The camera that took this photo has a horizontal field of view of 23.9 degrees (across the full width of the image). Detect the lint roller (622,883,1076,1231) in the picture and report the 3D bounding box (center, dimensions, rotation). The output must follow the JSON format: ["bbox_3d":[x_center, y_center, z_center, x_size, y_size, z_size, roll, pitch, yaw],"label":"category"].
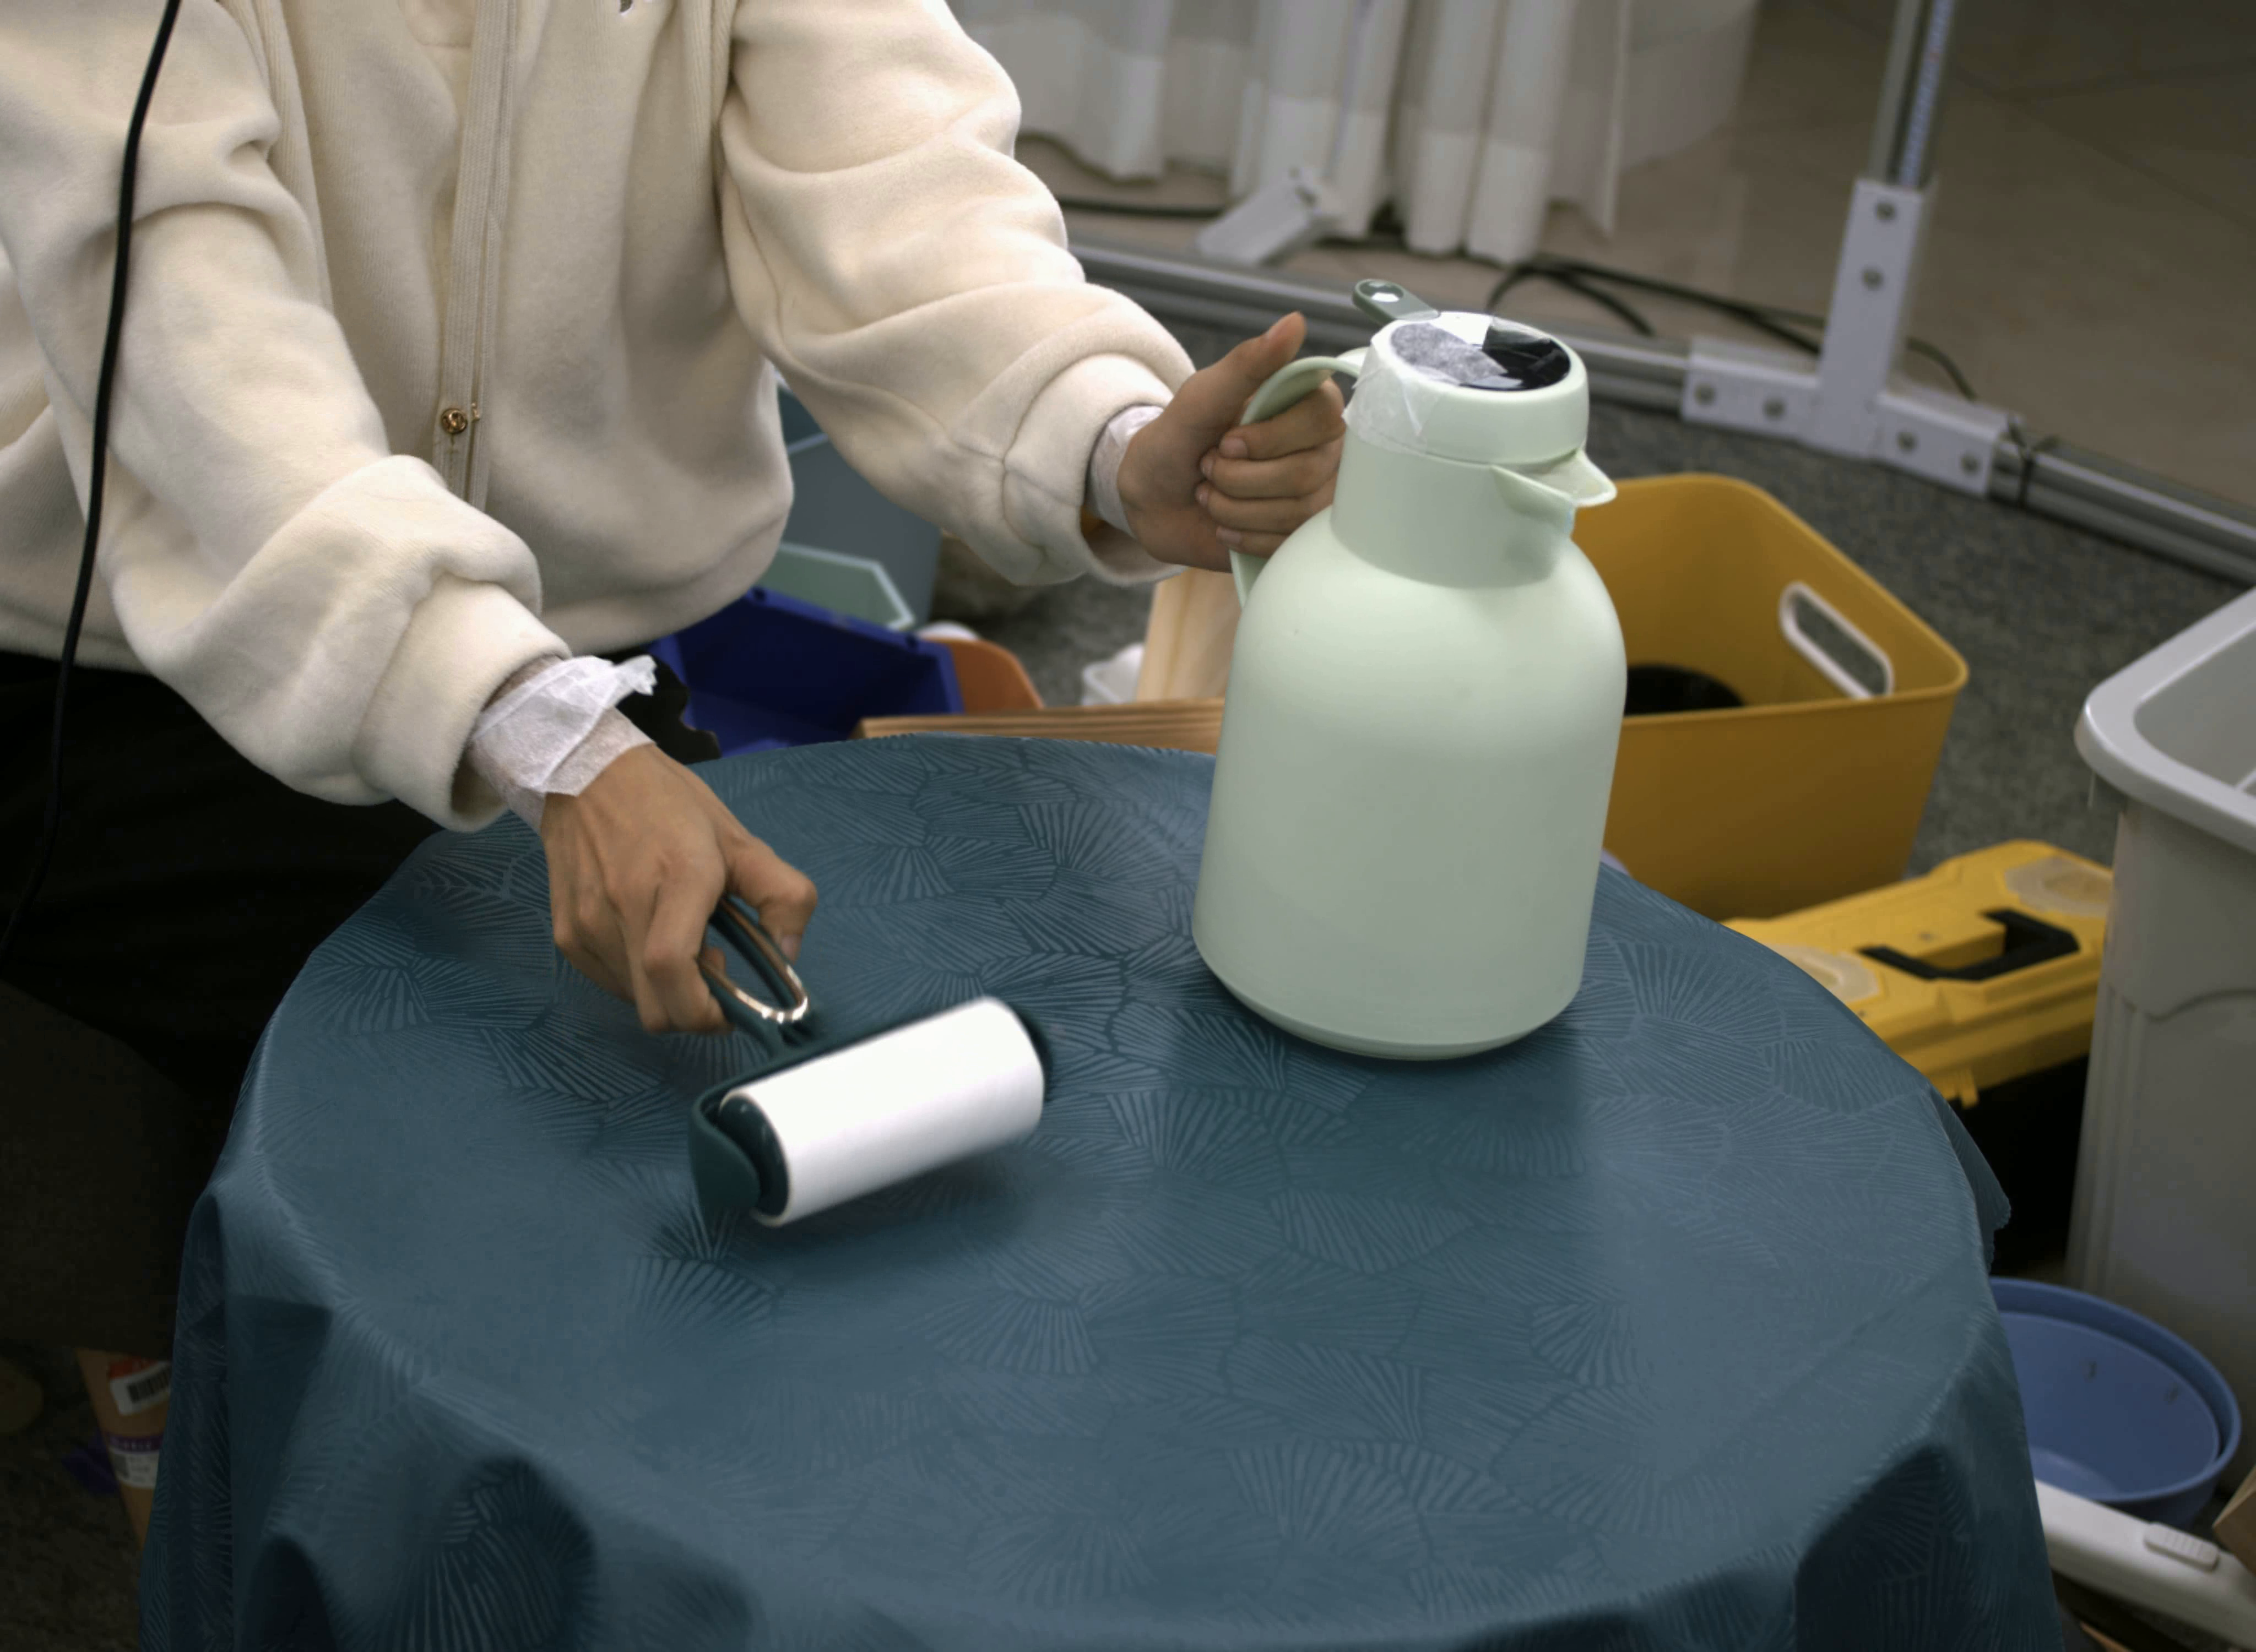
[{"bbox_3d":[-0.119,0.059,1.803,0.133,0.048,0.182,-15,45,-30],"label":"lint roller"}]

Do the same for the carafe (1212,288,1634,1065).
[{"bbox_3d":[0.102,-0.059,1.908,0.143,0.256,0.188,-14,30,-32],"label":"carafe"}]
